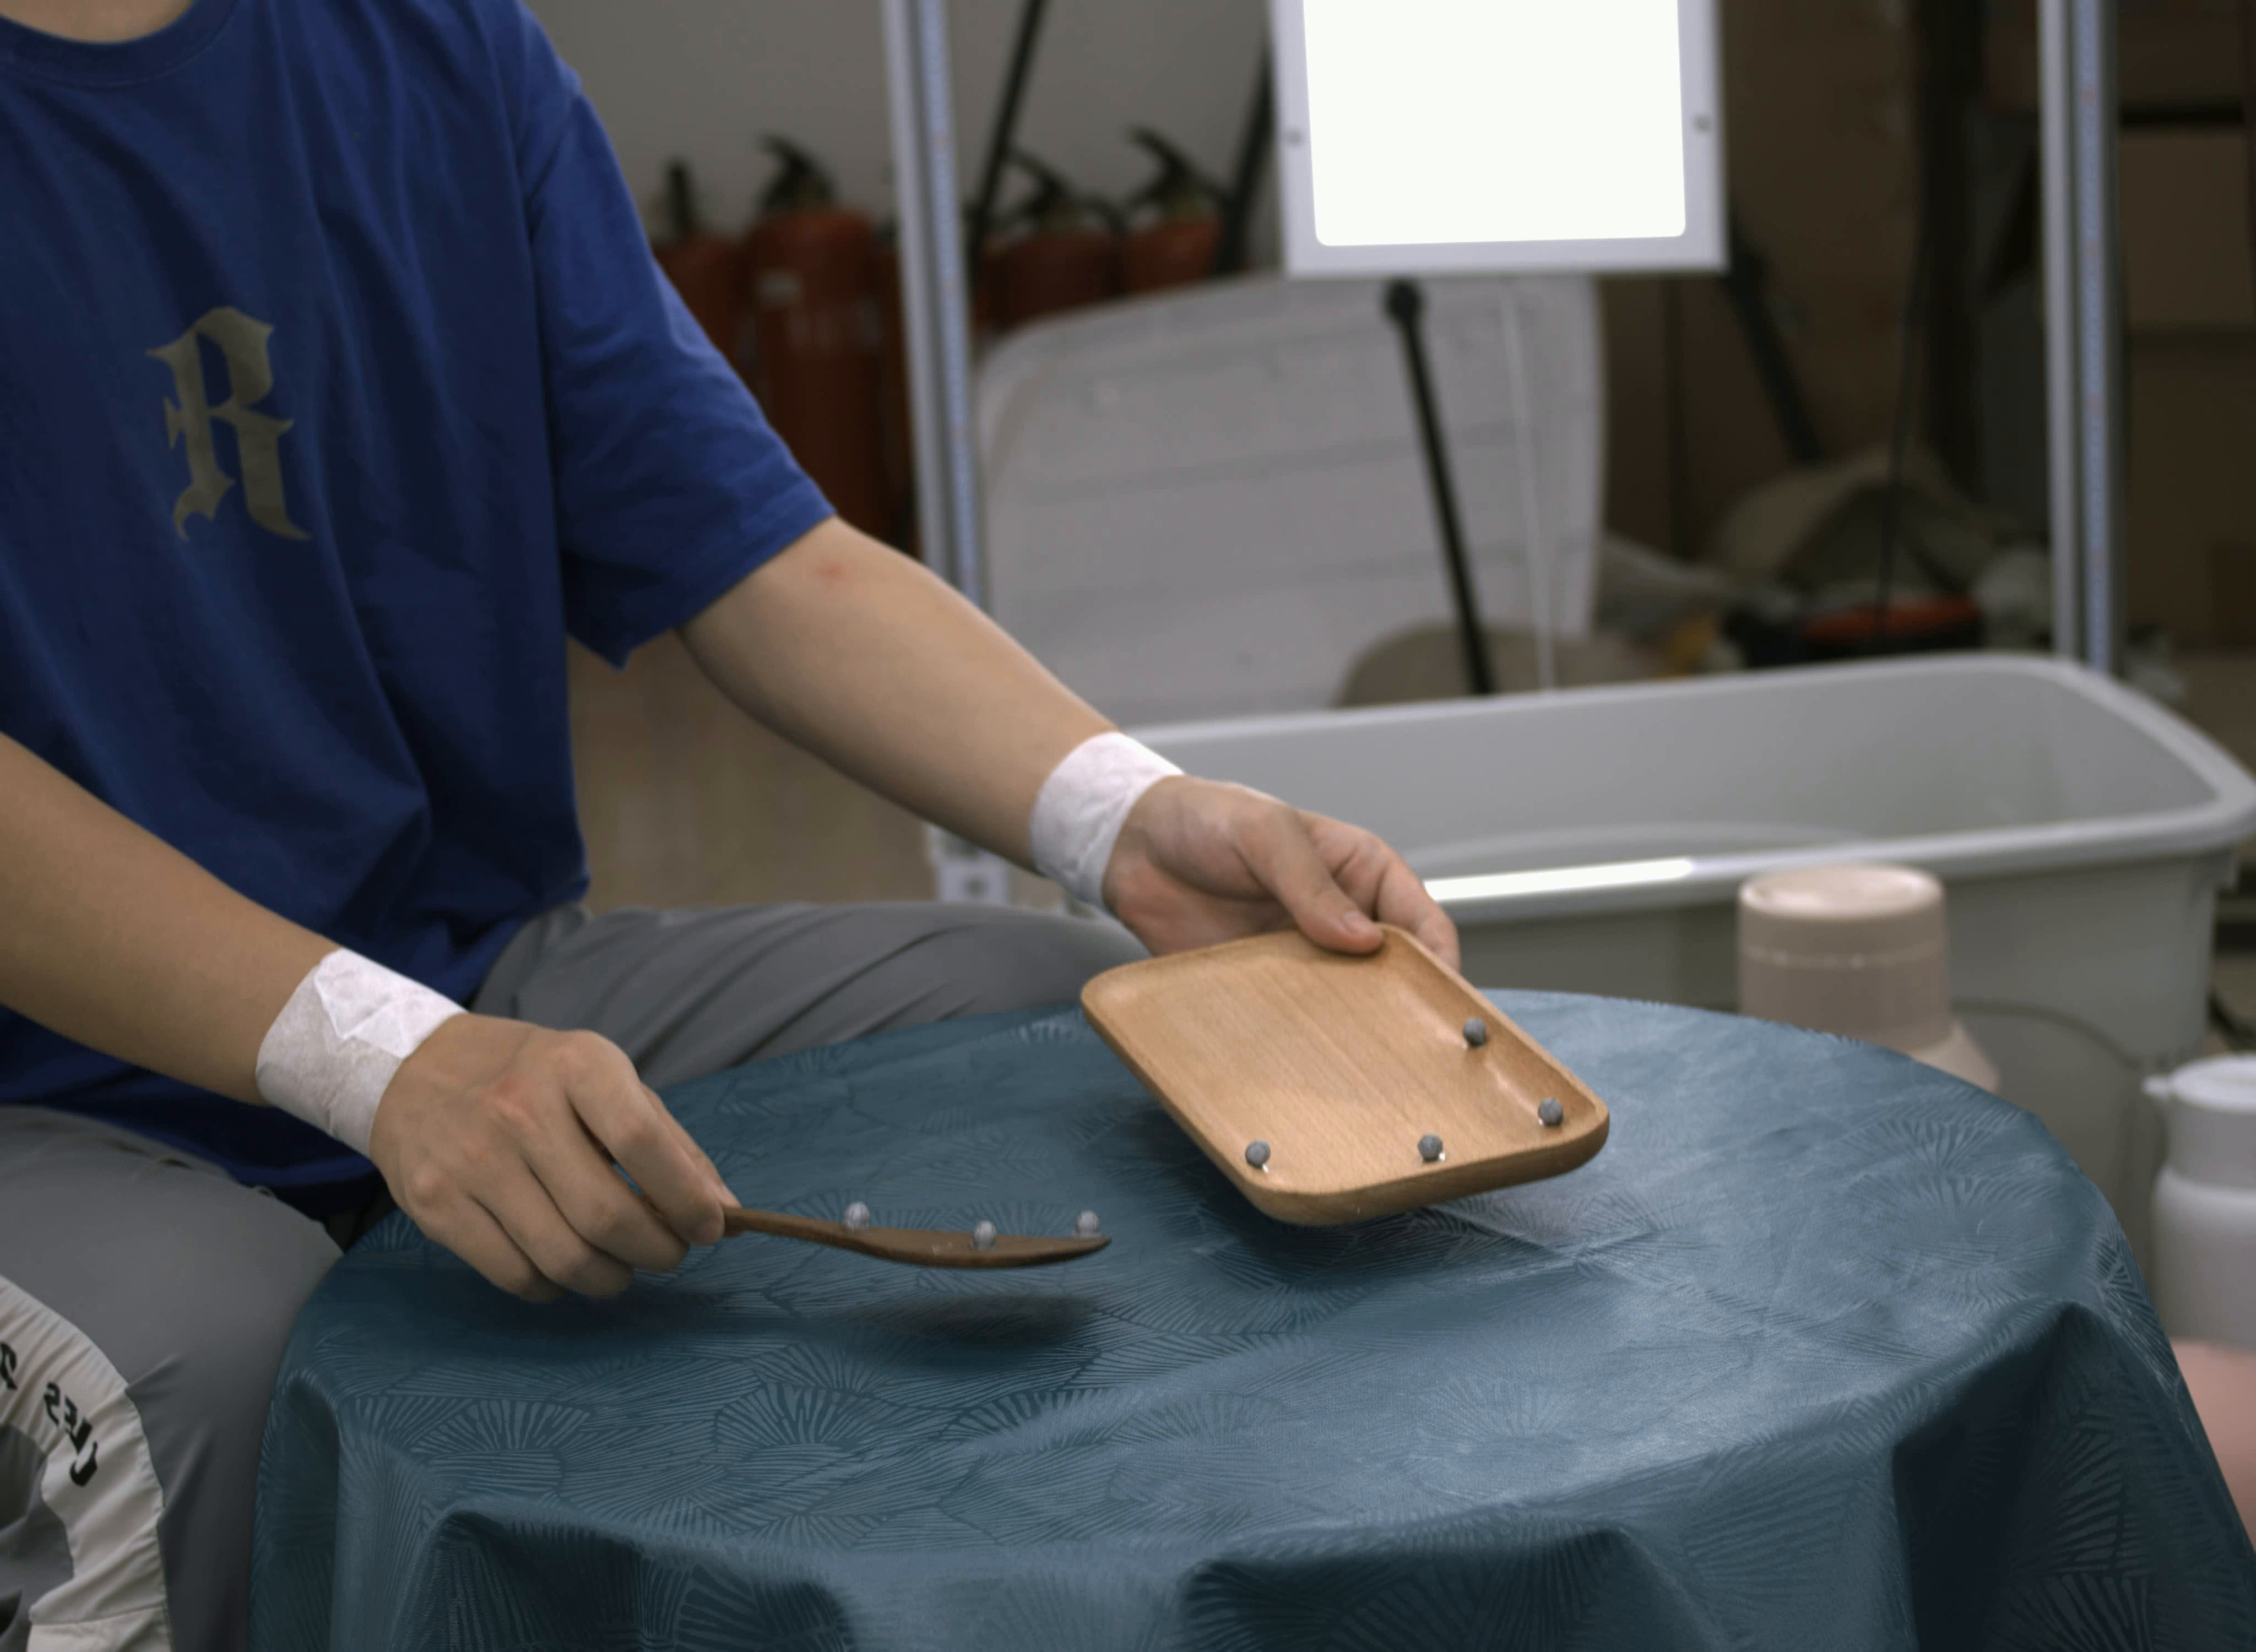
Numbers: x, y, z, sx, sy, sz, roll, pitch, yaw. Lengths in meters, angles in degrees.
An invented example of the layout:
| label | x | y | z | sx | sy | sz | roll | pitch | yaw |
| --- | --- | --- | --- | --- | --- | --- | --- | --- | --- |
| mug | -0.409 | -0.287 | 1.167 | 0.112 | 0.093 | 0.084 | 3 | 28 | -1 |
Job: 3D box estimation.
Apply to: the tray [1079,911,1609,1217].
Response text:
| label | x | y | z | sx | sy | sz | roll | pitch | yaw |
| --- | --- | --- | --- | --- | --- | --- | --- | --- | --- |
| tray | 0.071 | 0.080 | 1.903 | 0.129 | 0.023 | 0.253 | -9 | 17 | -13 |

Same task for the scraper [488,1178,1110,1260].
| label | x | y | z | sx | sy | sz | roll | pitch | yaw |
| --- | --- | --- | --- | --- | --- | --- | --- | --- | --- |
| scraper | -0.111 | 0.128 | 1.796 | 0.214 | 0.011 | 0.074 | 5 | 1 | 22 |
